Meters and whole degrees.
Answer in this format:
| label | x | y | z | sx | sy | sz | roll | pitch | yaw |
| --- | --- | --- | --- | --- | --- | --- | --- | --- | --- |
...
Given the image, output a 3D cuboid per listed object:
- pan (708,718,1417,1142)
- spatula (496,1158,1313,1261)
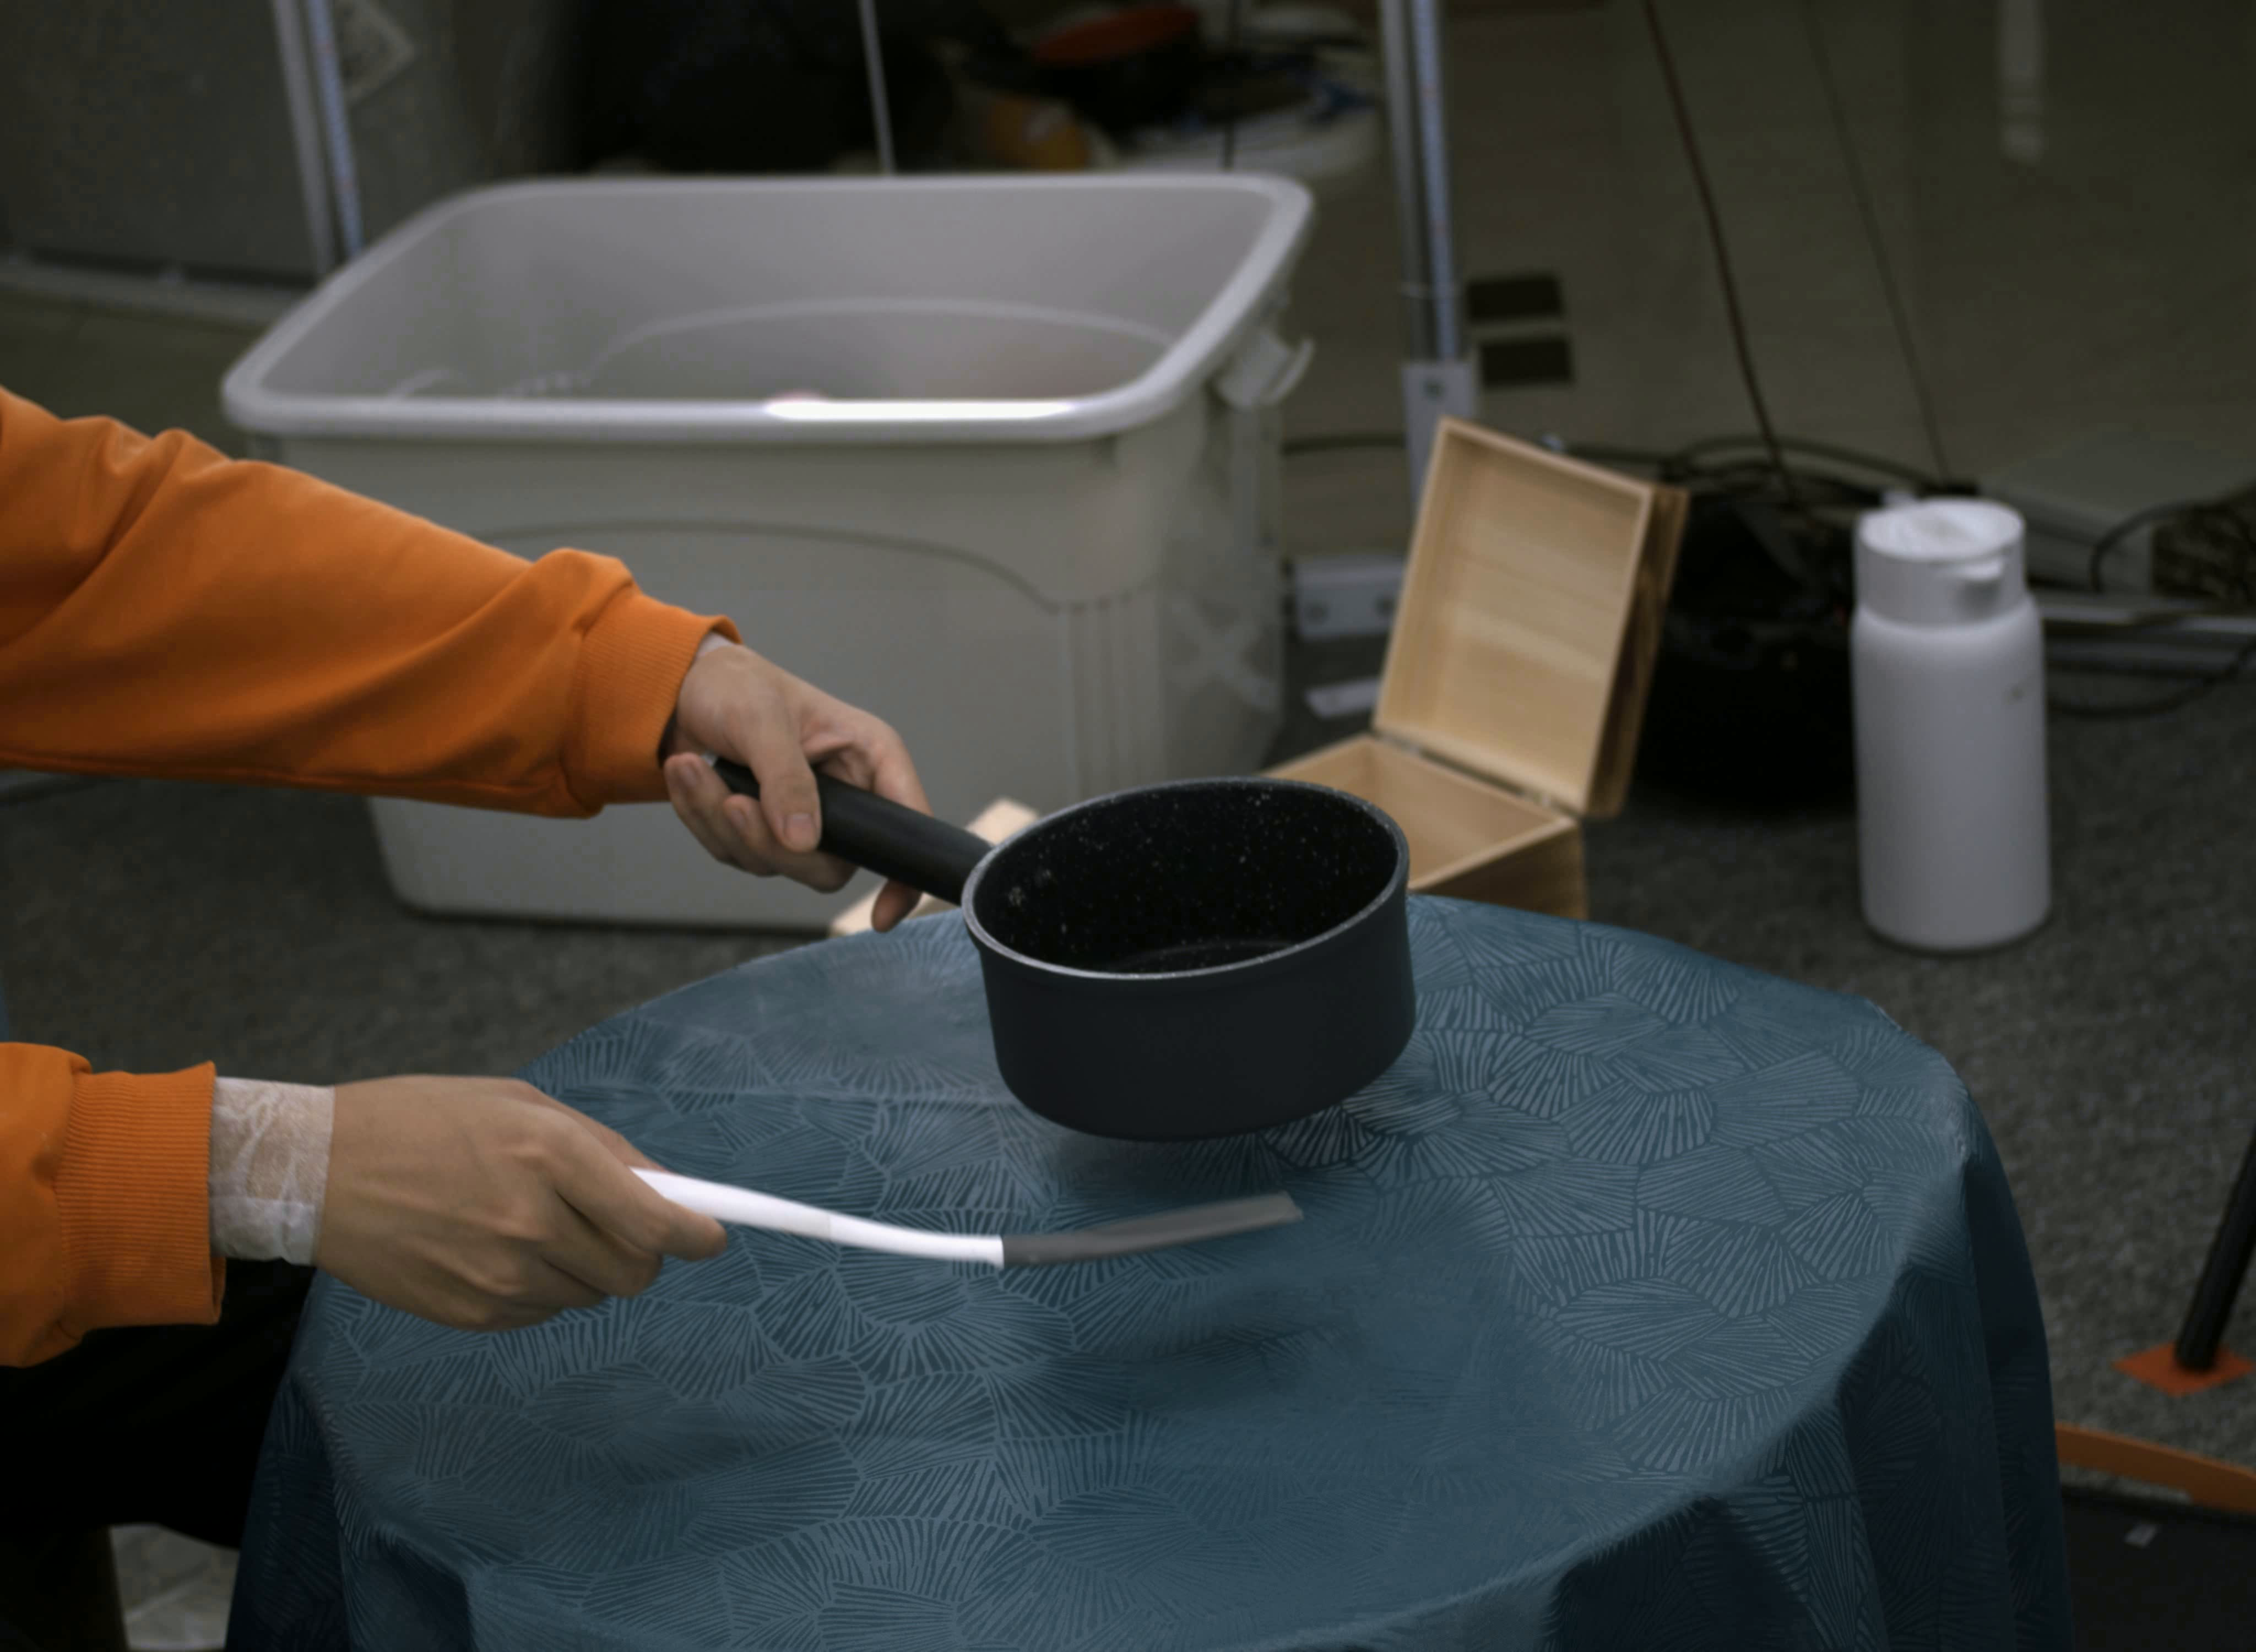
| label | x | y | z | sx | sy | sz | roll | pitch | yaw |
| --- | --- | --- | --- | --- | --- | --- | --- | --- | --- |
| pan | -0.035 | 0.032 | 2.211 | 0.326 | 0.088 | 0.170 | 16 | 34 | 37 |
| spatula | -0.079 | 0.136 | 2.000 | 0.287 | 0.032 | 0.058 | 2 | 1 | -7 |
